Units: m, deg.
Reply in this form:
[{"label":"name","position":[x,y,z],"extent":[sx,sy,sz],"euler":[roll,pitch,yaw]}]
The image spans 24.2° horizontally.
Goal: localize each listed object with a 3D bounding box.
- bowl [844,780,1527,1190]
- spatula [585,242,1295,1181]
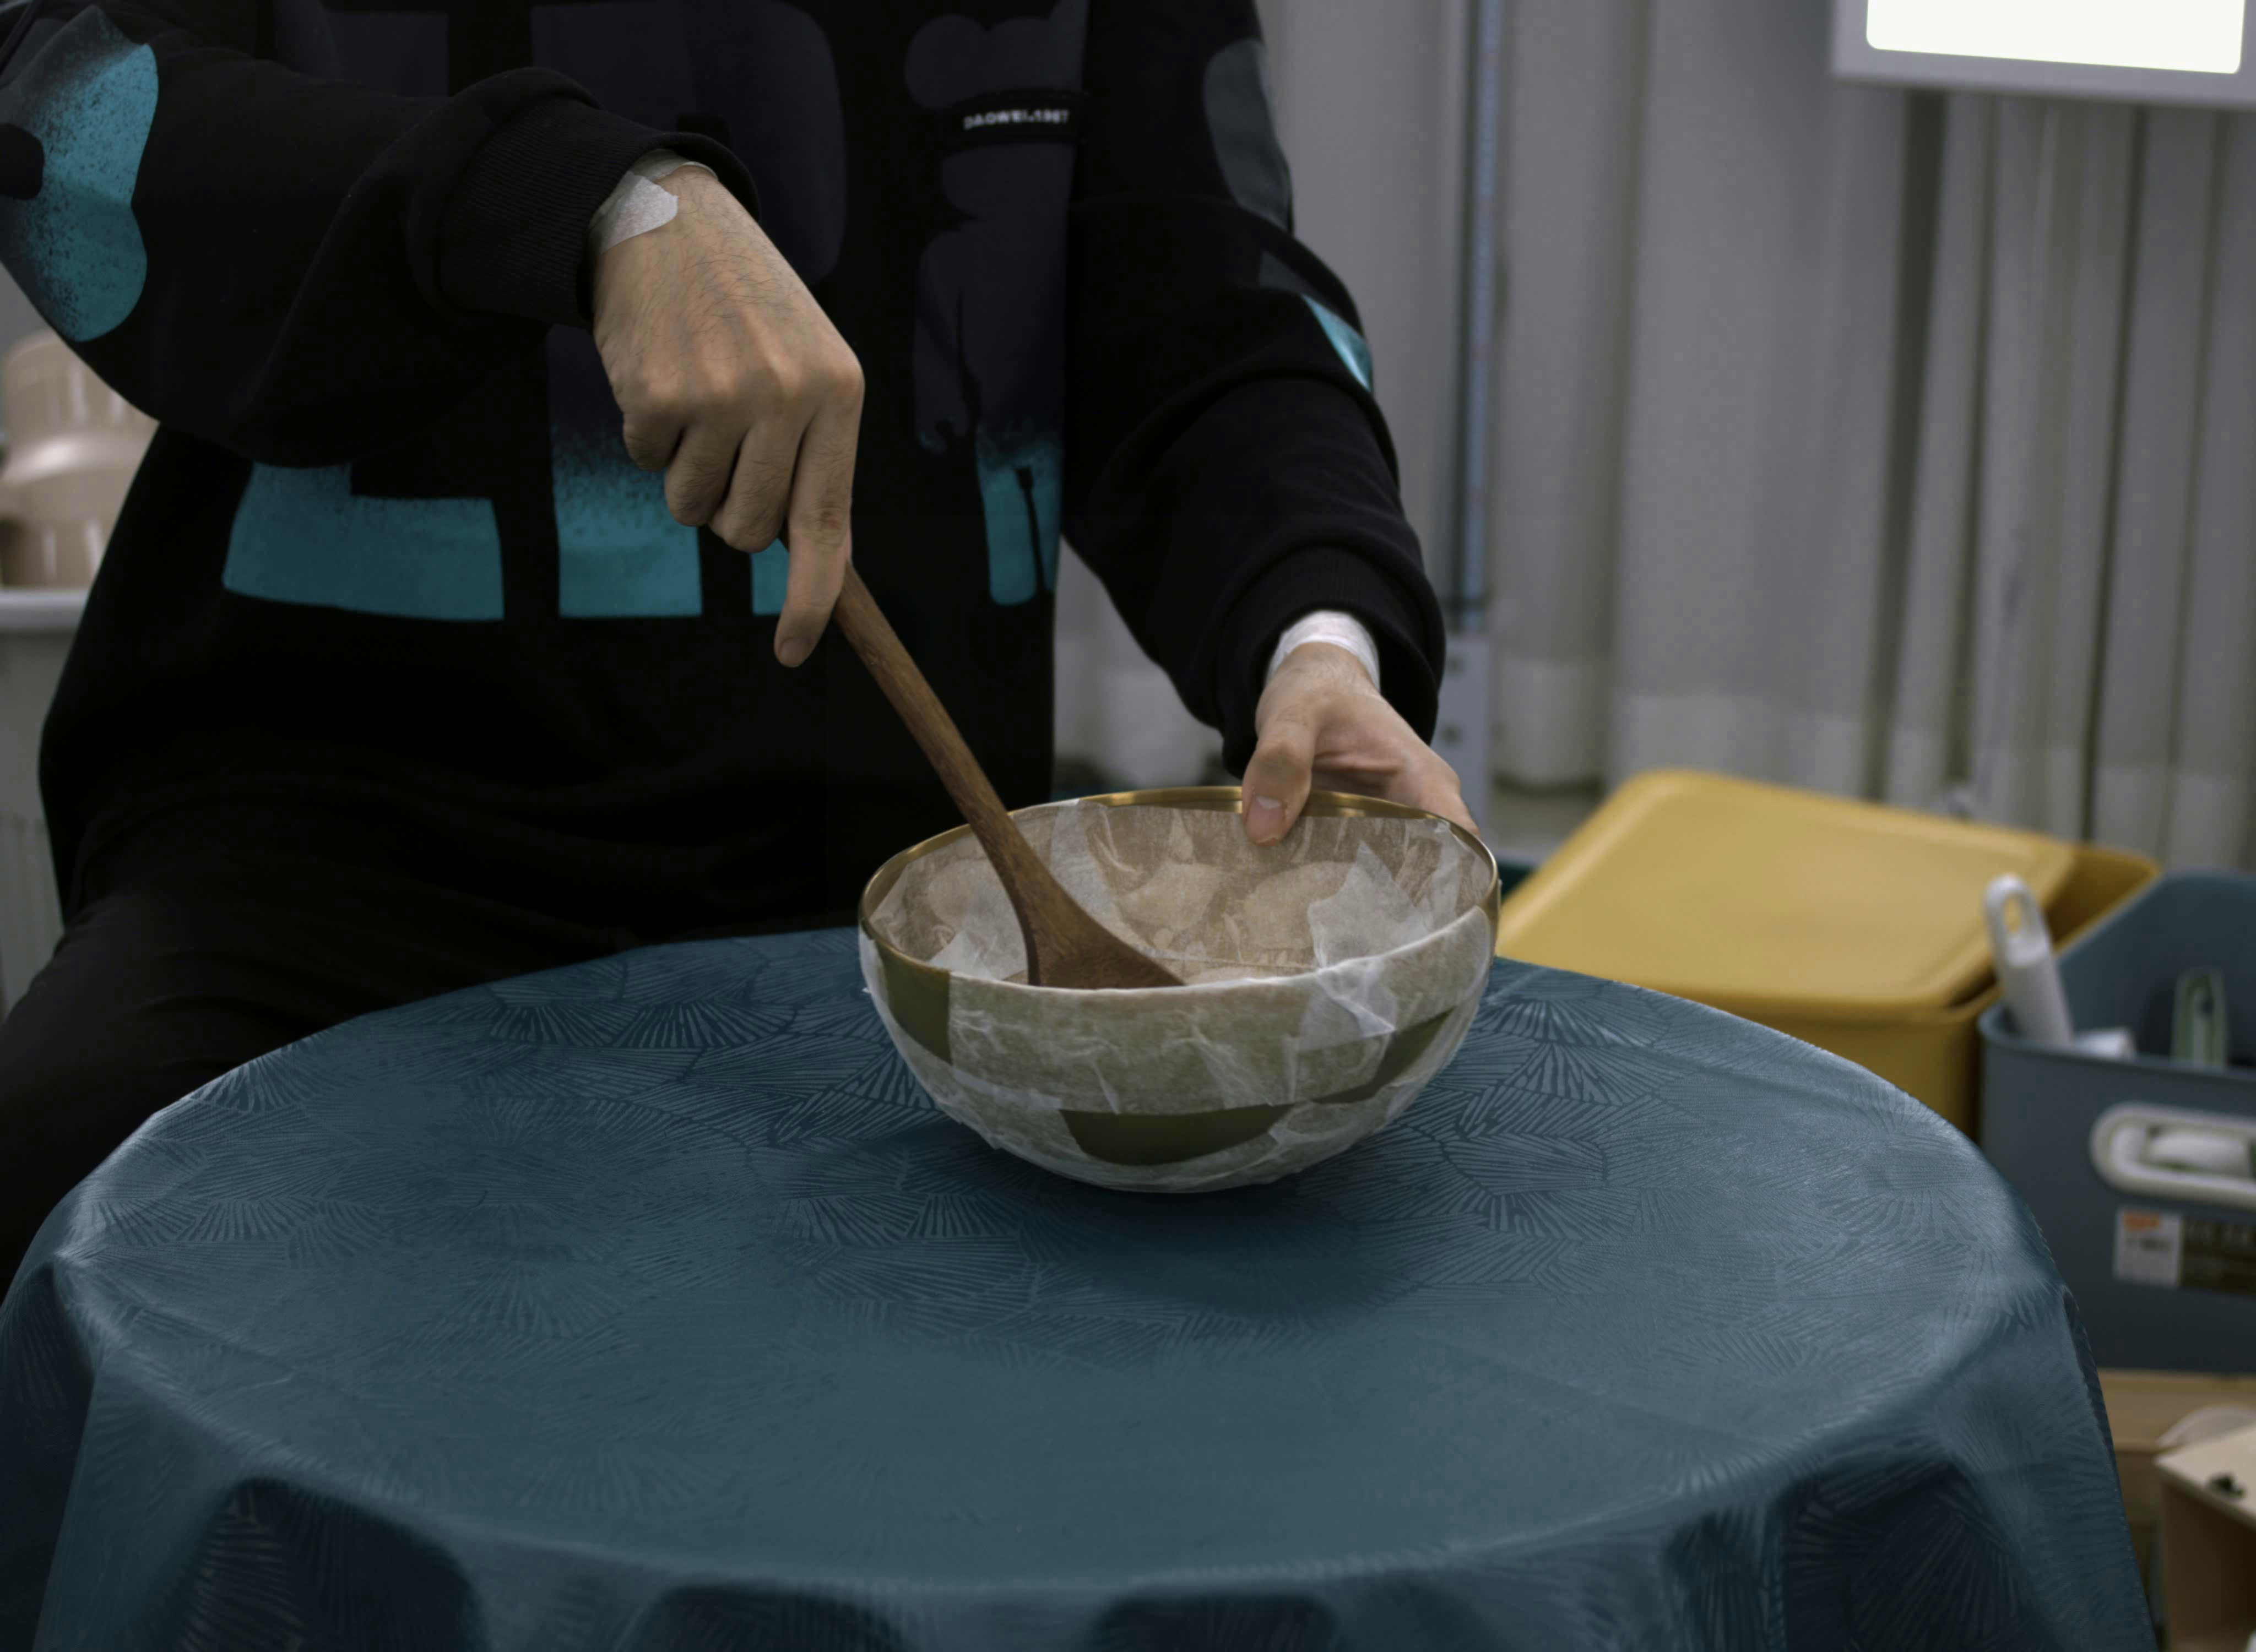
[{"label":"bowl","position":[0.019,0.058,1.643],"extent":[0.214,0.095,0.213],"euler":[-4,17,2]},{"label":"spatula","position":[-0.067,-0.042,1.666],"extent":[0.096,0.016,0.383],"euler":[-10,60,-56]}]
